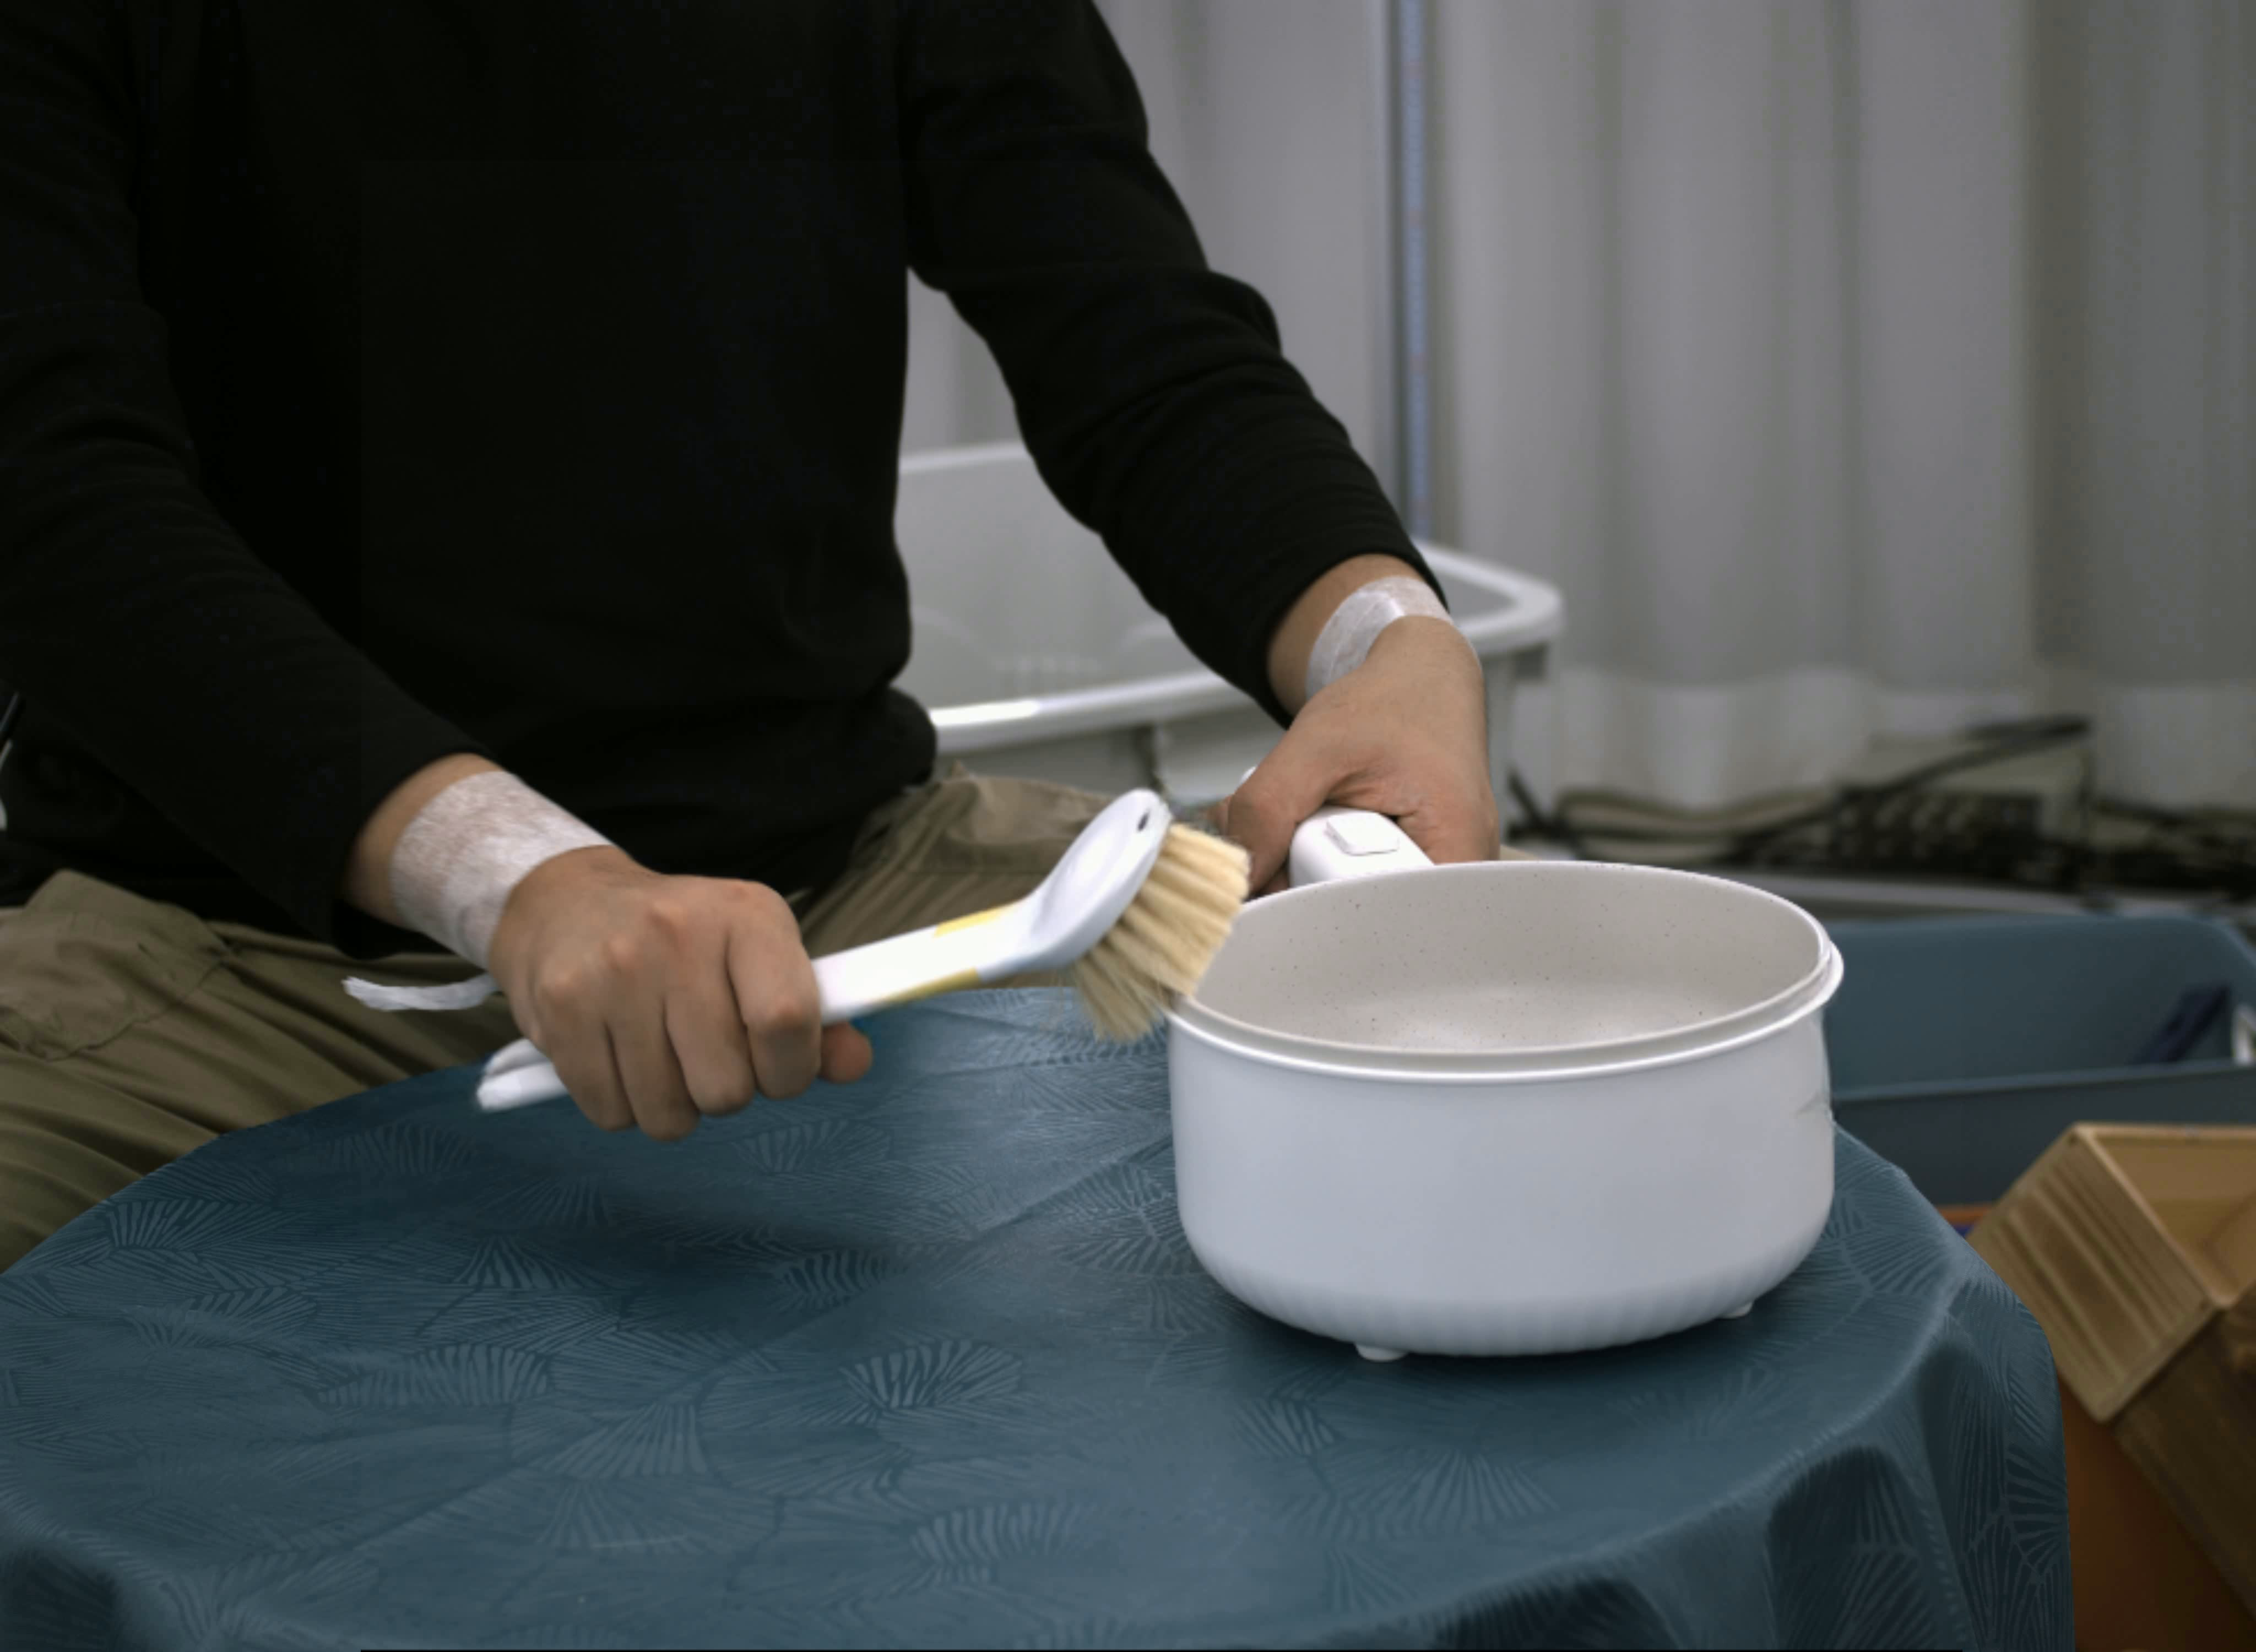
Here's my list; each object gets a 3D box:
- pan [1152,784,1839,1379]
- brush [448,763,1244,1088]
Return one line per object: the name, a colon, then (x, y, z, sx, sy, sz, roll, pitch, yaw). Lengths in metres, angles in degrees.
pan: (0.094, 0.072, 1.681, 0.200, 0.102, 0.357, -8, 14, -11)
brush: (-0.083, 0.050, 1.646, 0.266, 0.055, 0.069, -21, 23, 23)
